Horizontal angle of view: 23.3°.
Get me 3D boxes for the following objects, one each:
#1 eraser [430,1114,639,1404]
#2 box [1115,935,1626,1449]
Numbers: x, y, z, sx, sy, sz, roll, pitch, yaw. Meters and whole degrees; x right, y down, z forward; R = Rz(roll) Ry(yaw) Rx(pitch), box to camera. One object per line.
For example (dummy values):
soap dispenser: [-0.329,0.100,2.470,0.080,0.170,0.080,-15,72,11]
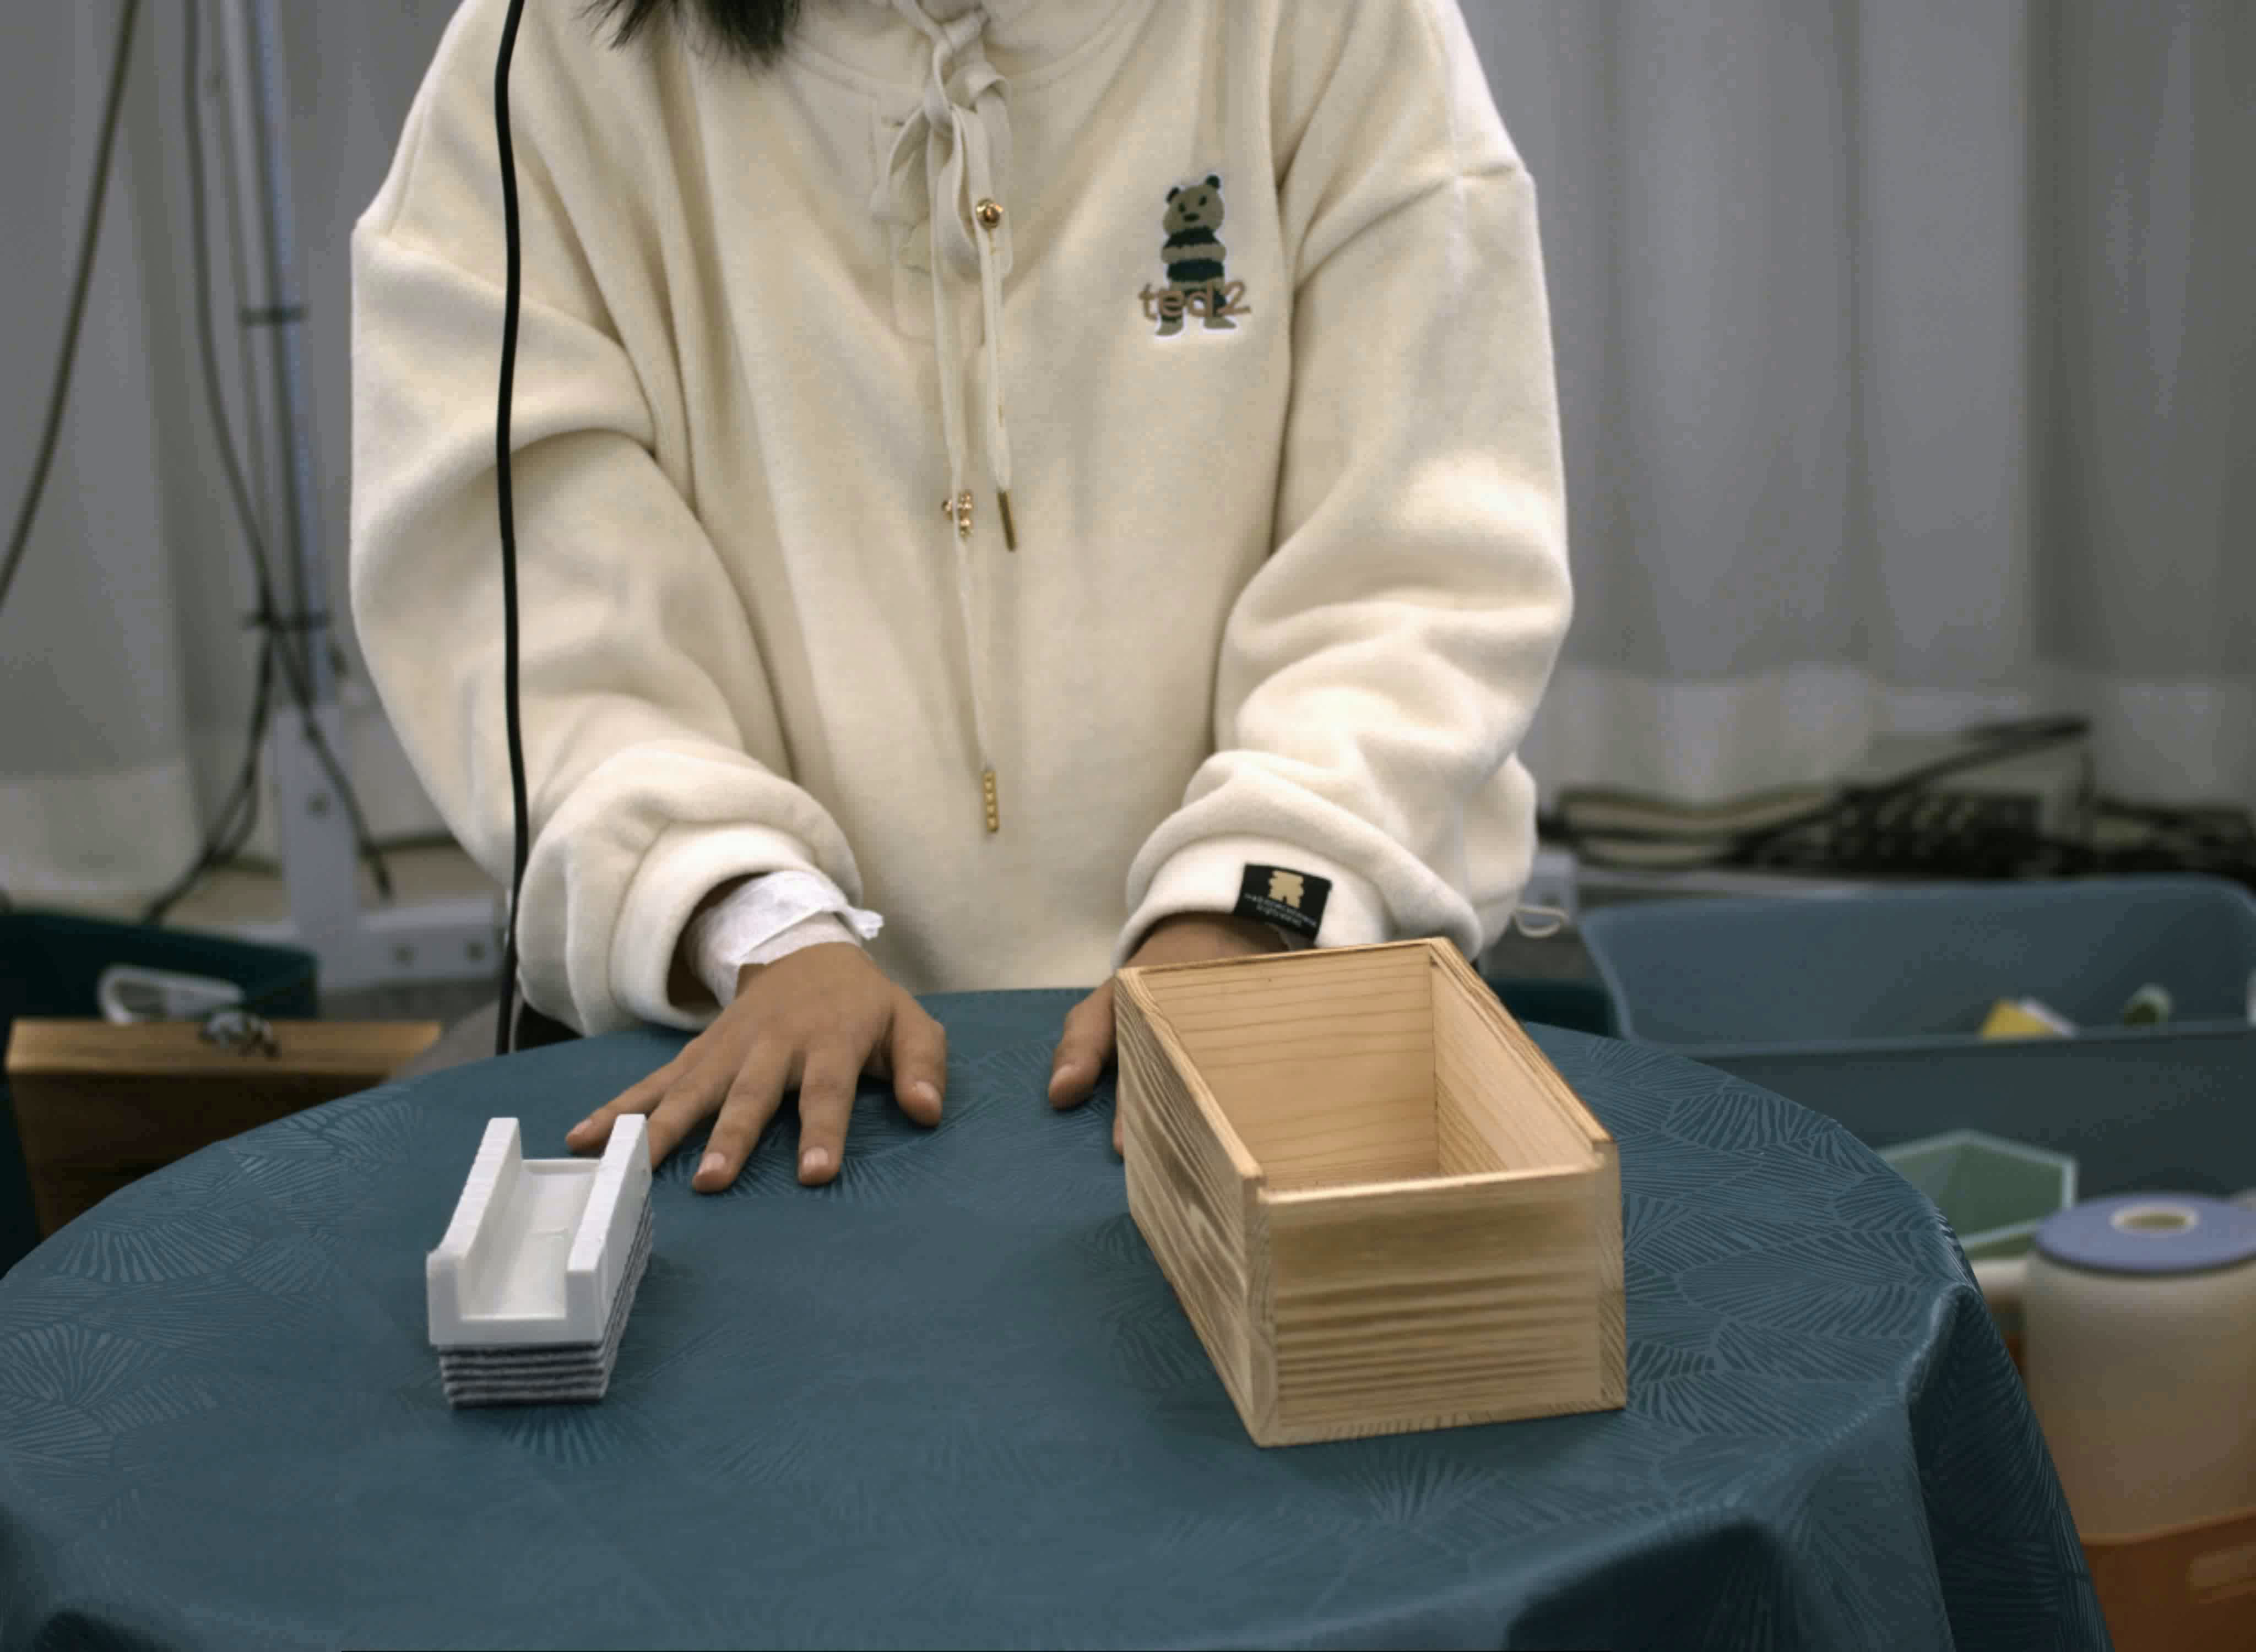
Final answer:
eraser: [-0.173,0.126,1.613,0.049,0.046,0.135,-5,16,0]
box: [0.067,0.102,1.595,0.107,0.080,0.213,-5,15,-9]
